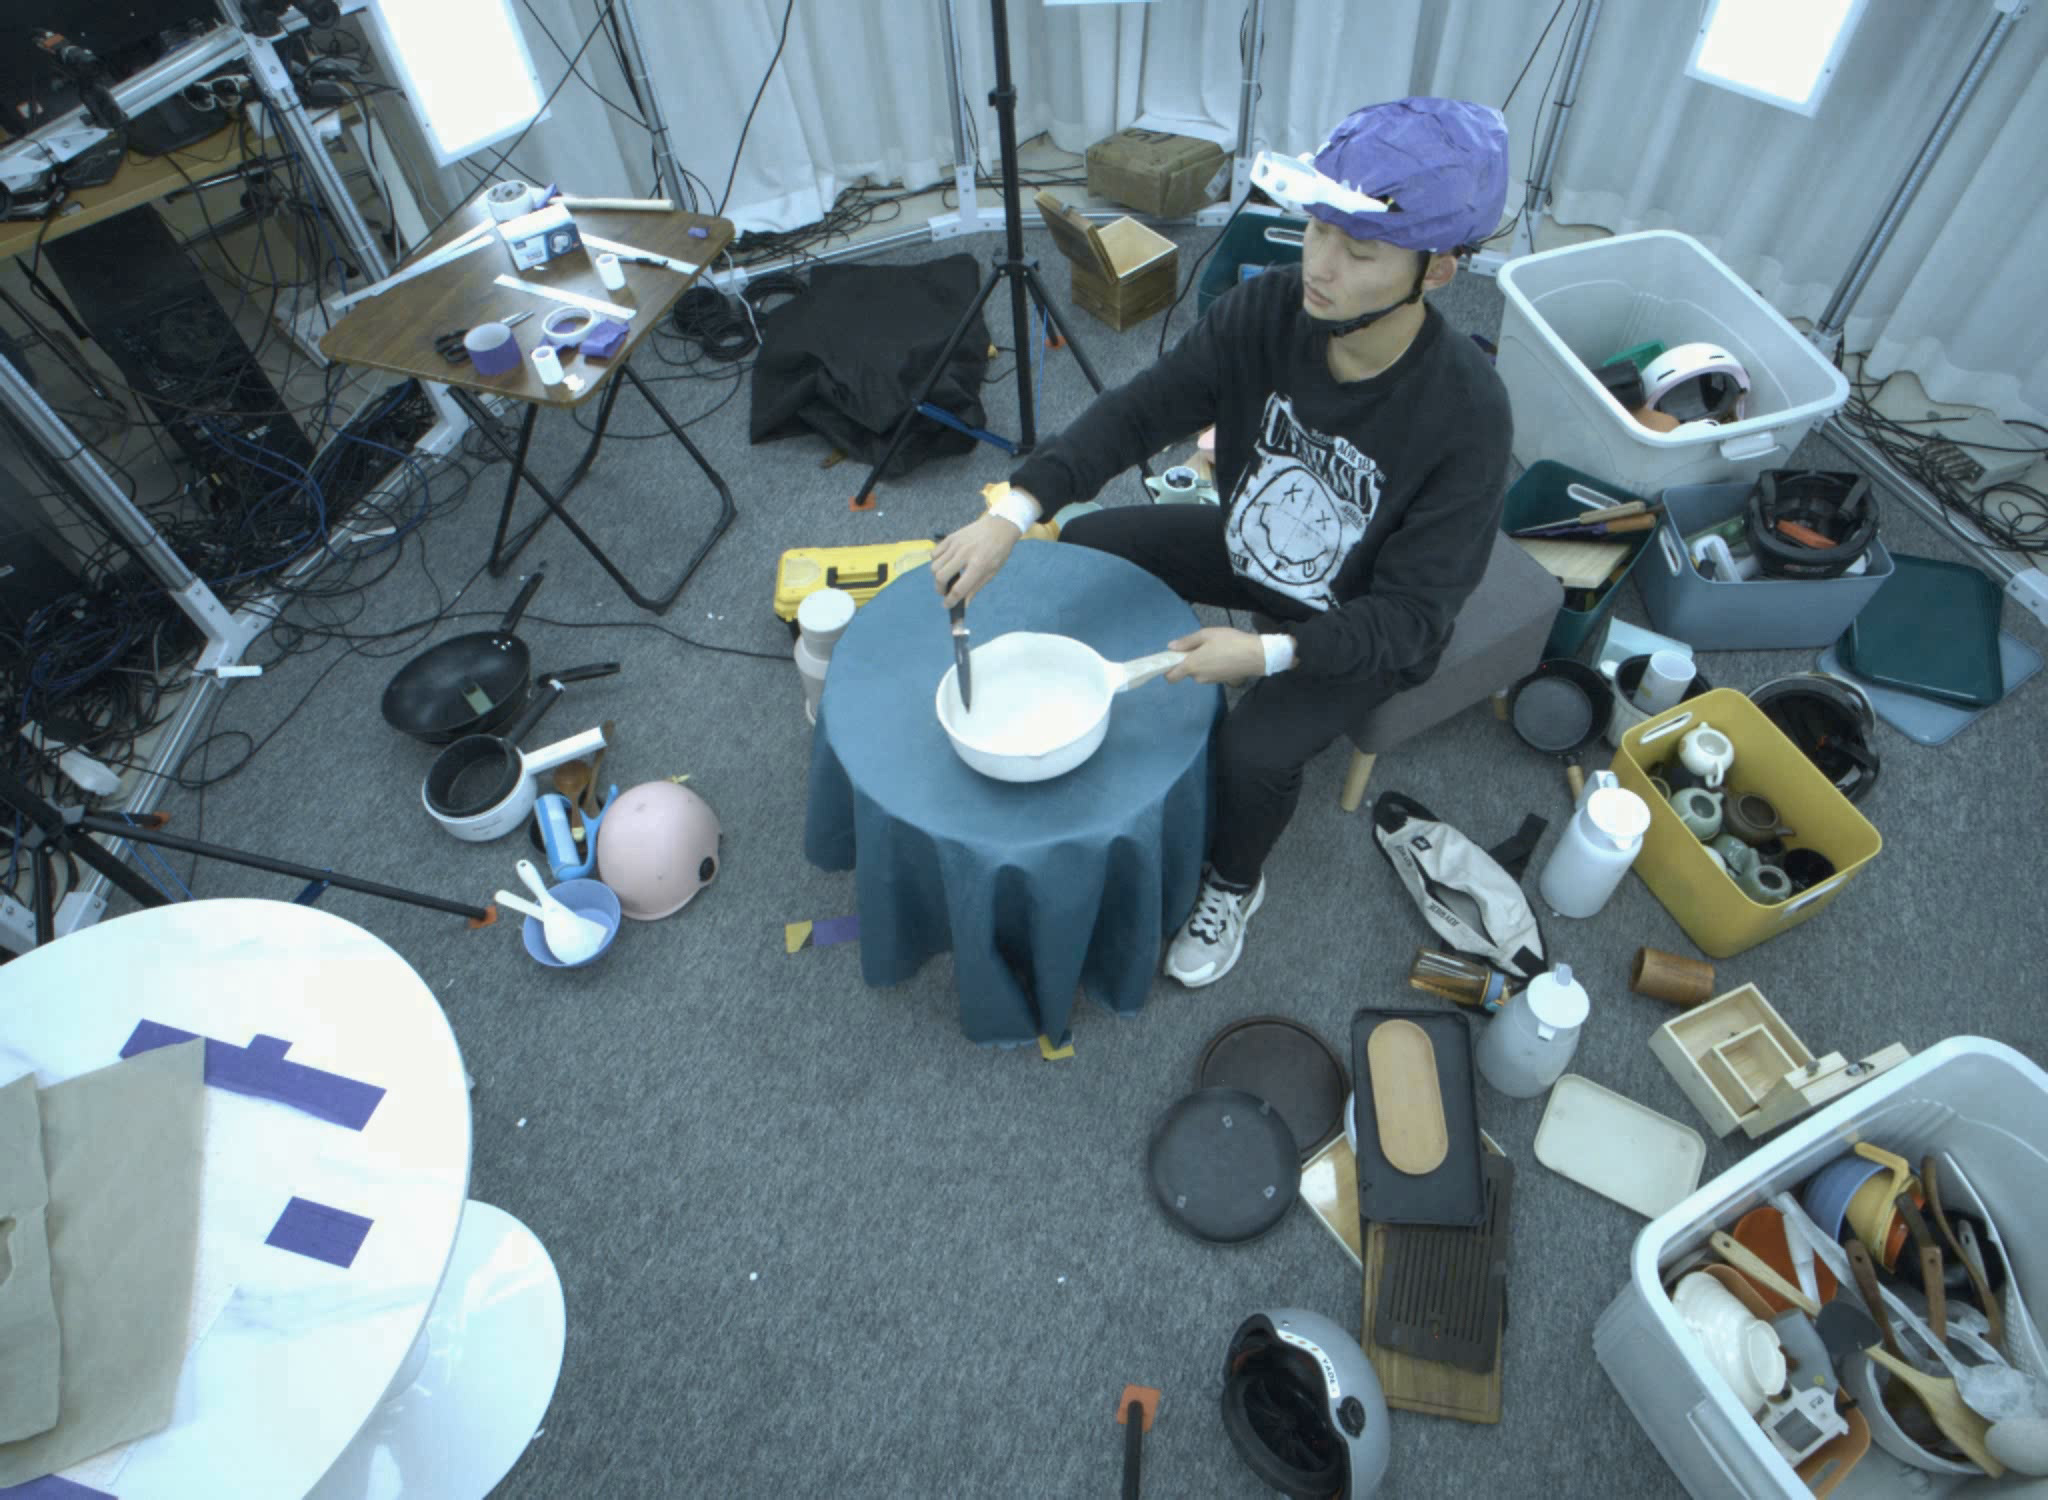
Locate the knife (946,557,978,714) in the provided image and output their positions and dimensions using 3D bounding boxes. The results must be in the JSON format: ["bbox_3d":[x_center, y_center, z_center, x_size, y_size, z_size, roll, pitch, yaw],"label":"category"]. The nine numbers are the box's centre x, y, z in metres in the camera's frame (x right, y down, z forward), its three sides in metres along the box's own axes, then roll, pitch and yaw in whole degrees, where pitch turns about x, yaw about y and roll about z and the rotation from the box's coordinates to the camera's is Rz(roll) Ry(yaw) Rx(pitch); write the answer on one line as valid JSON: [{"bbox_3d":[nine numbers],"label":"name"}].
[{"bbox_3d":[-0.089,-0.163,1.741,0.026,0.017,0.225,-8,92,-12],"label":"knife"}]

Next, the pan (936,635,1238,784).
[{"bbox_3d":[0.095,-0.076,1.753,0.436,0.103,0.259,-11,44,-4],"label":"pan"}]
